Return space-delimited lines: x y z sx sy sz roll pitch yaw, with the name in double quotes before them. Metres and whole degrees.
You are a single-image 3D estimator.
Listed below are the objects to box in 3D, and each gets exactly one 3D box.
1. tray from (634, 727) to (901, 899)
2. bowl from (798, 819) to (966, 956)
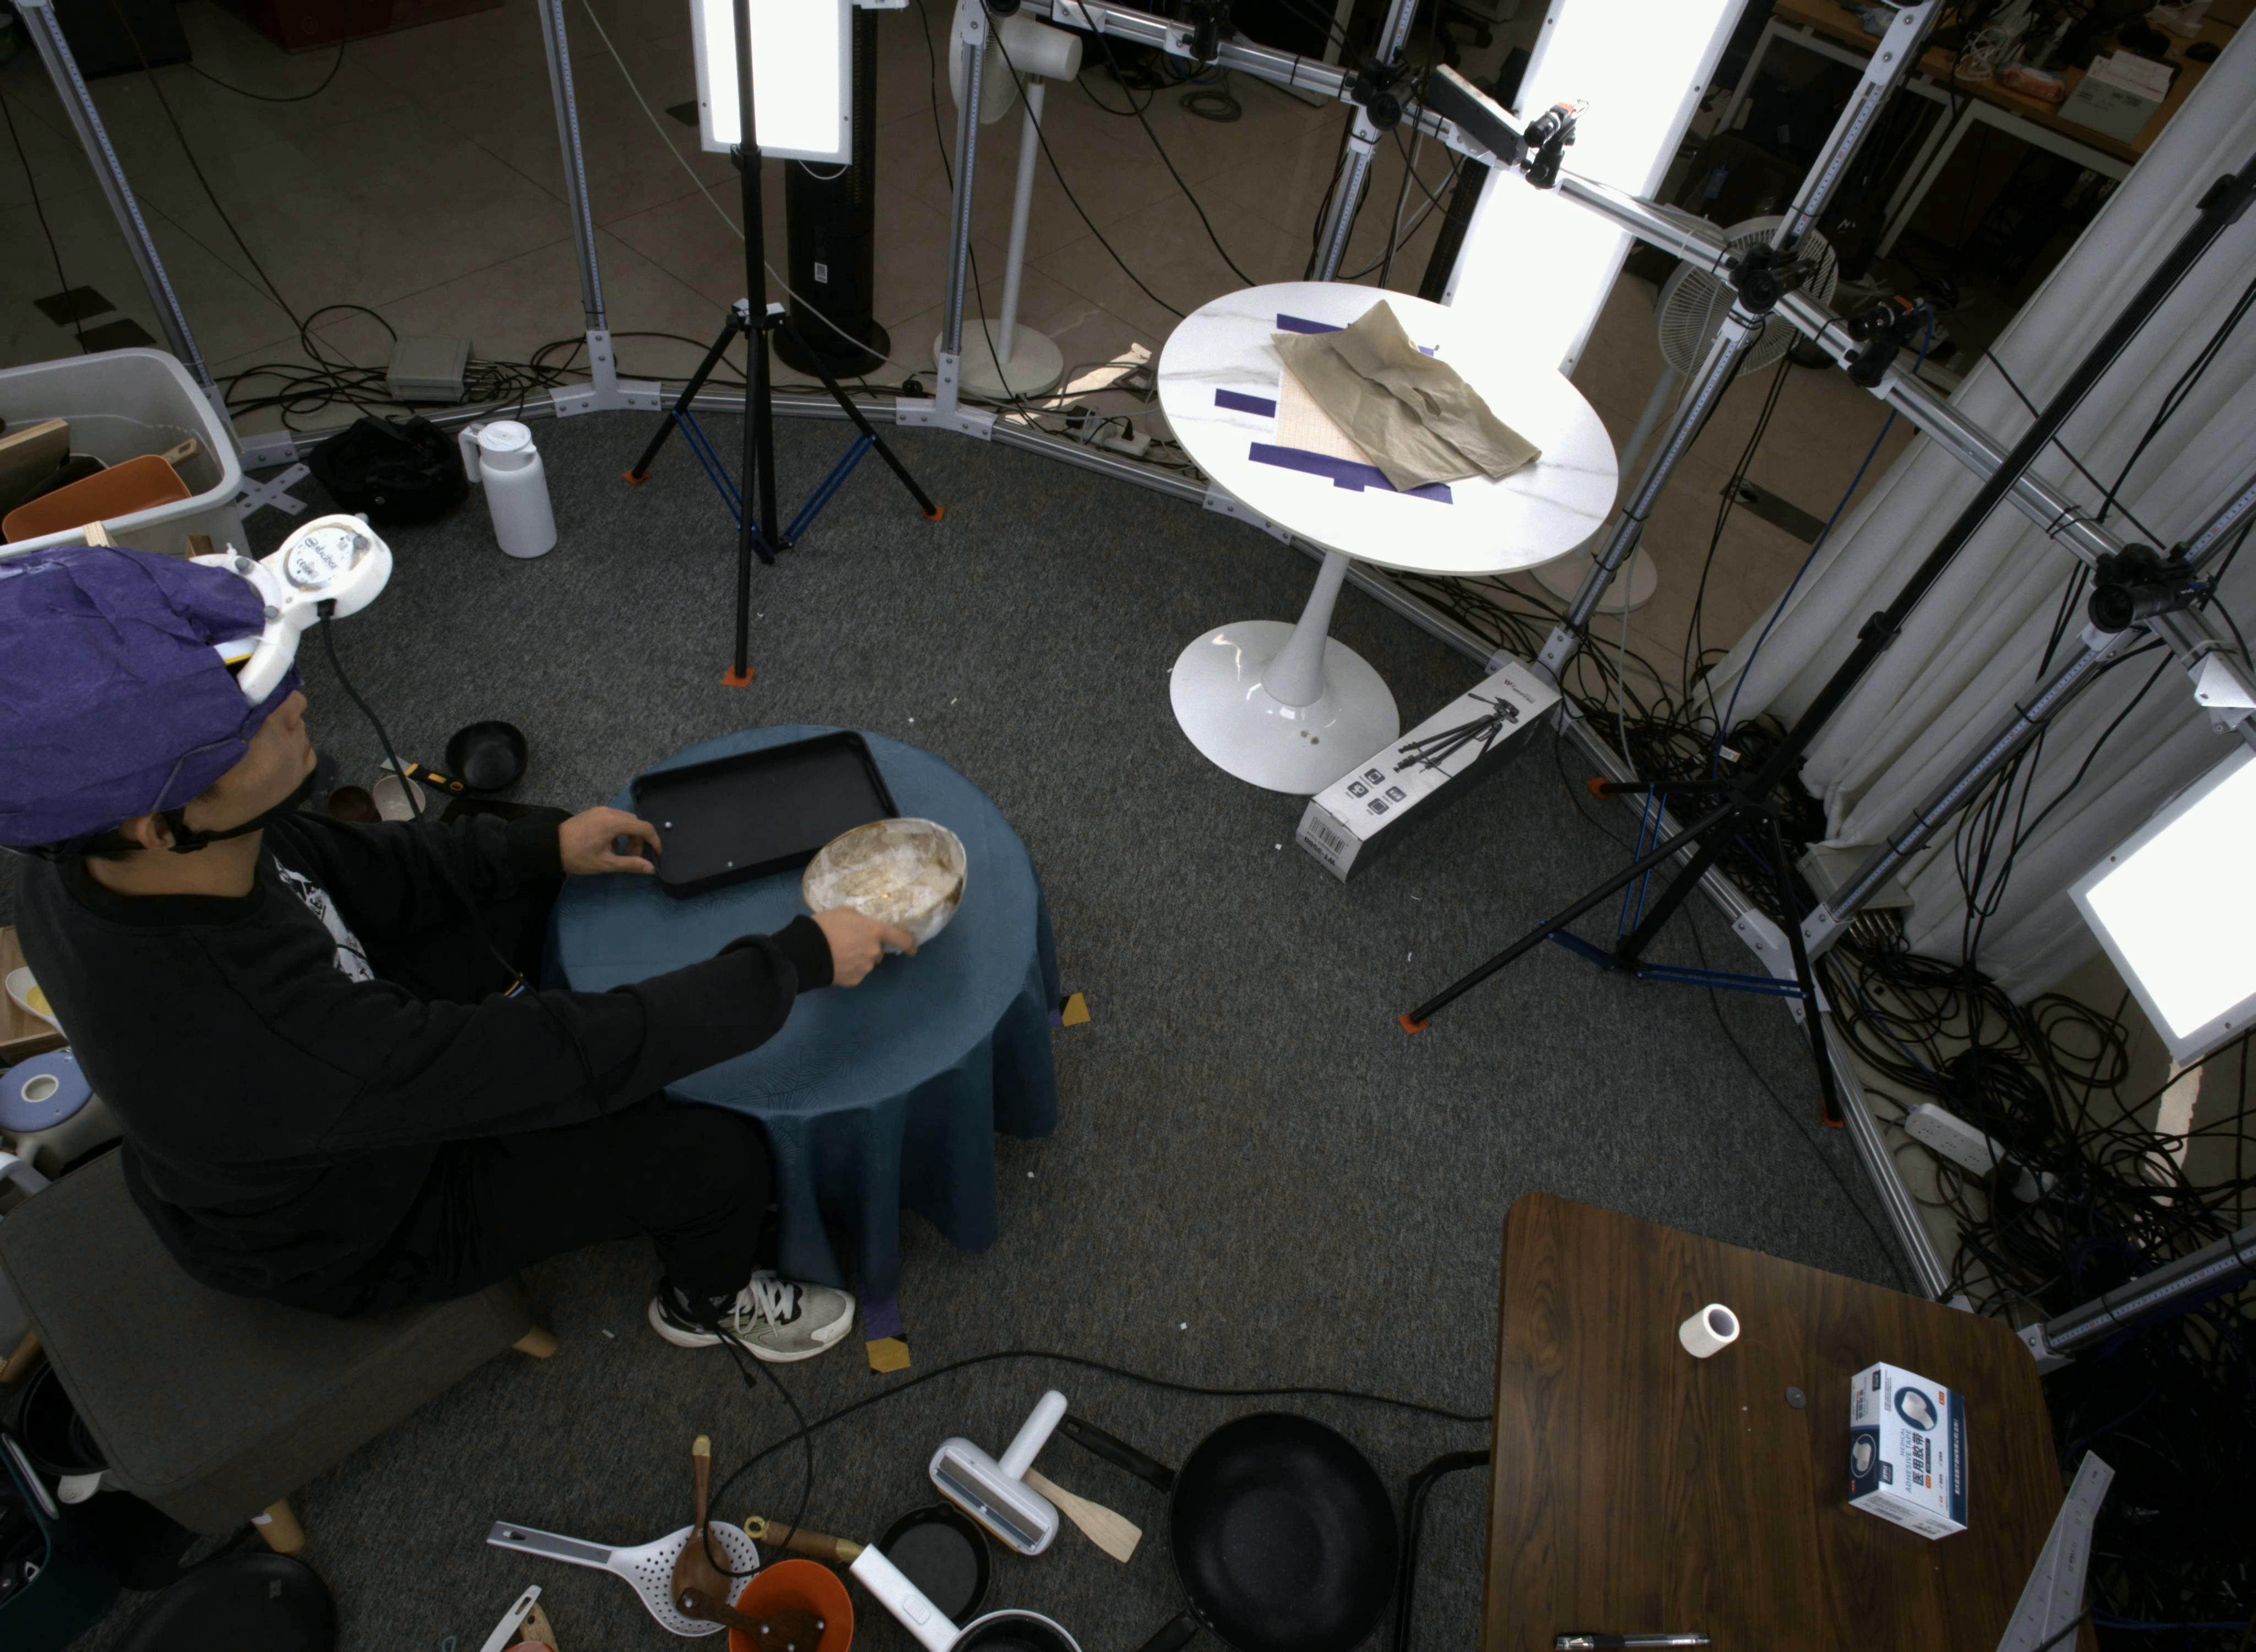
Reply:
"tray" -0.474 -0.023 1.705 0.319 0.038 0.180 -16 61 -25
"bowl" -0.300 0.090 1.612 0.212 0.098 0.210 0 41 2
